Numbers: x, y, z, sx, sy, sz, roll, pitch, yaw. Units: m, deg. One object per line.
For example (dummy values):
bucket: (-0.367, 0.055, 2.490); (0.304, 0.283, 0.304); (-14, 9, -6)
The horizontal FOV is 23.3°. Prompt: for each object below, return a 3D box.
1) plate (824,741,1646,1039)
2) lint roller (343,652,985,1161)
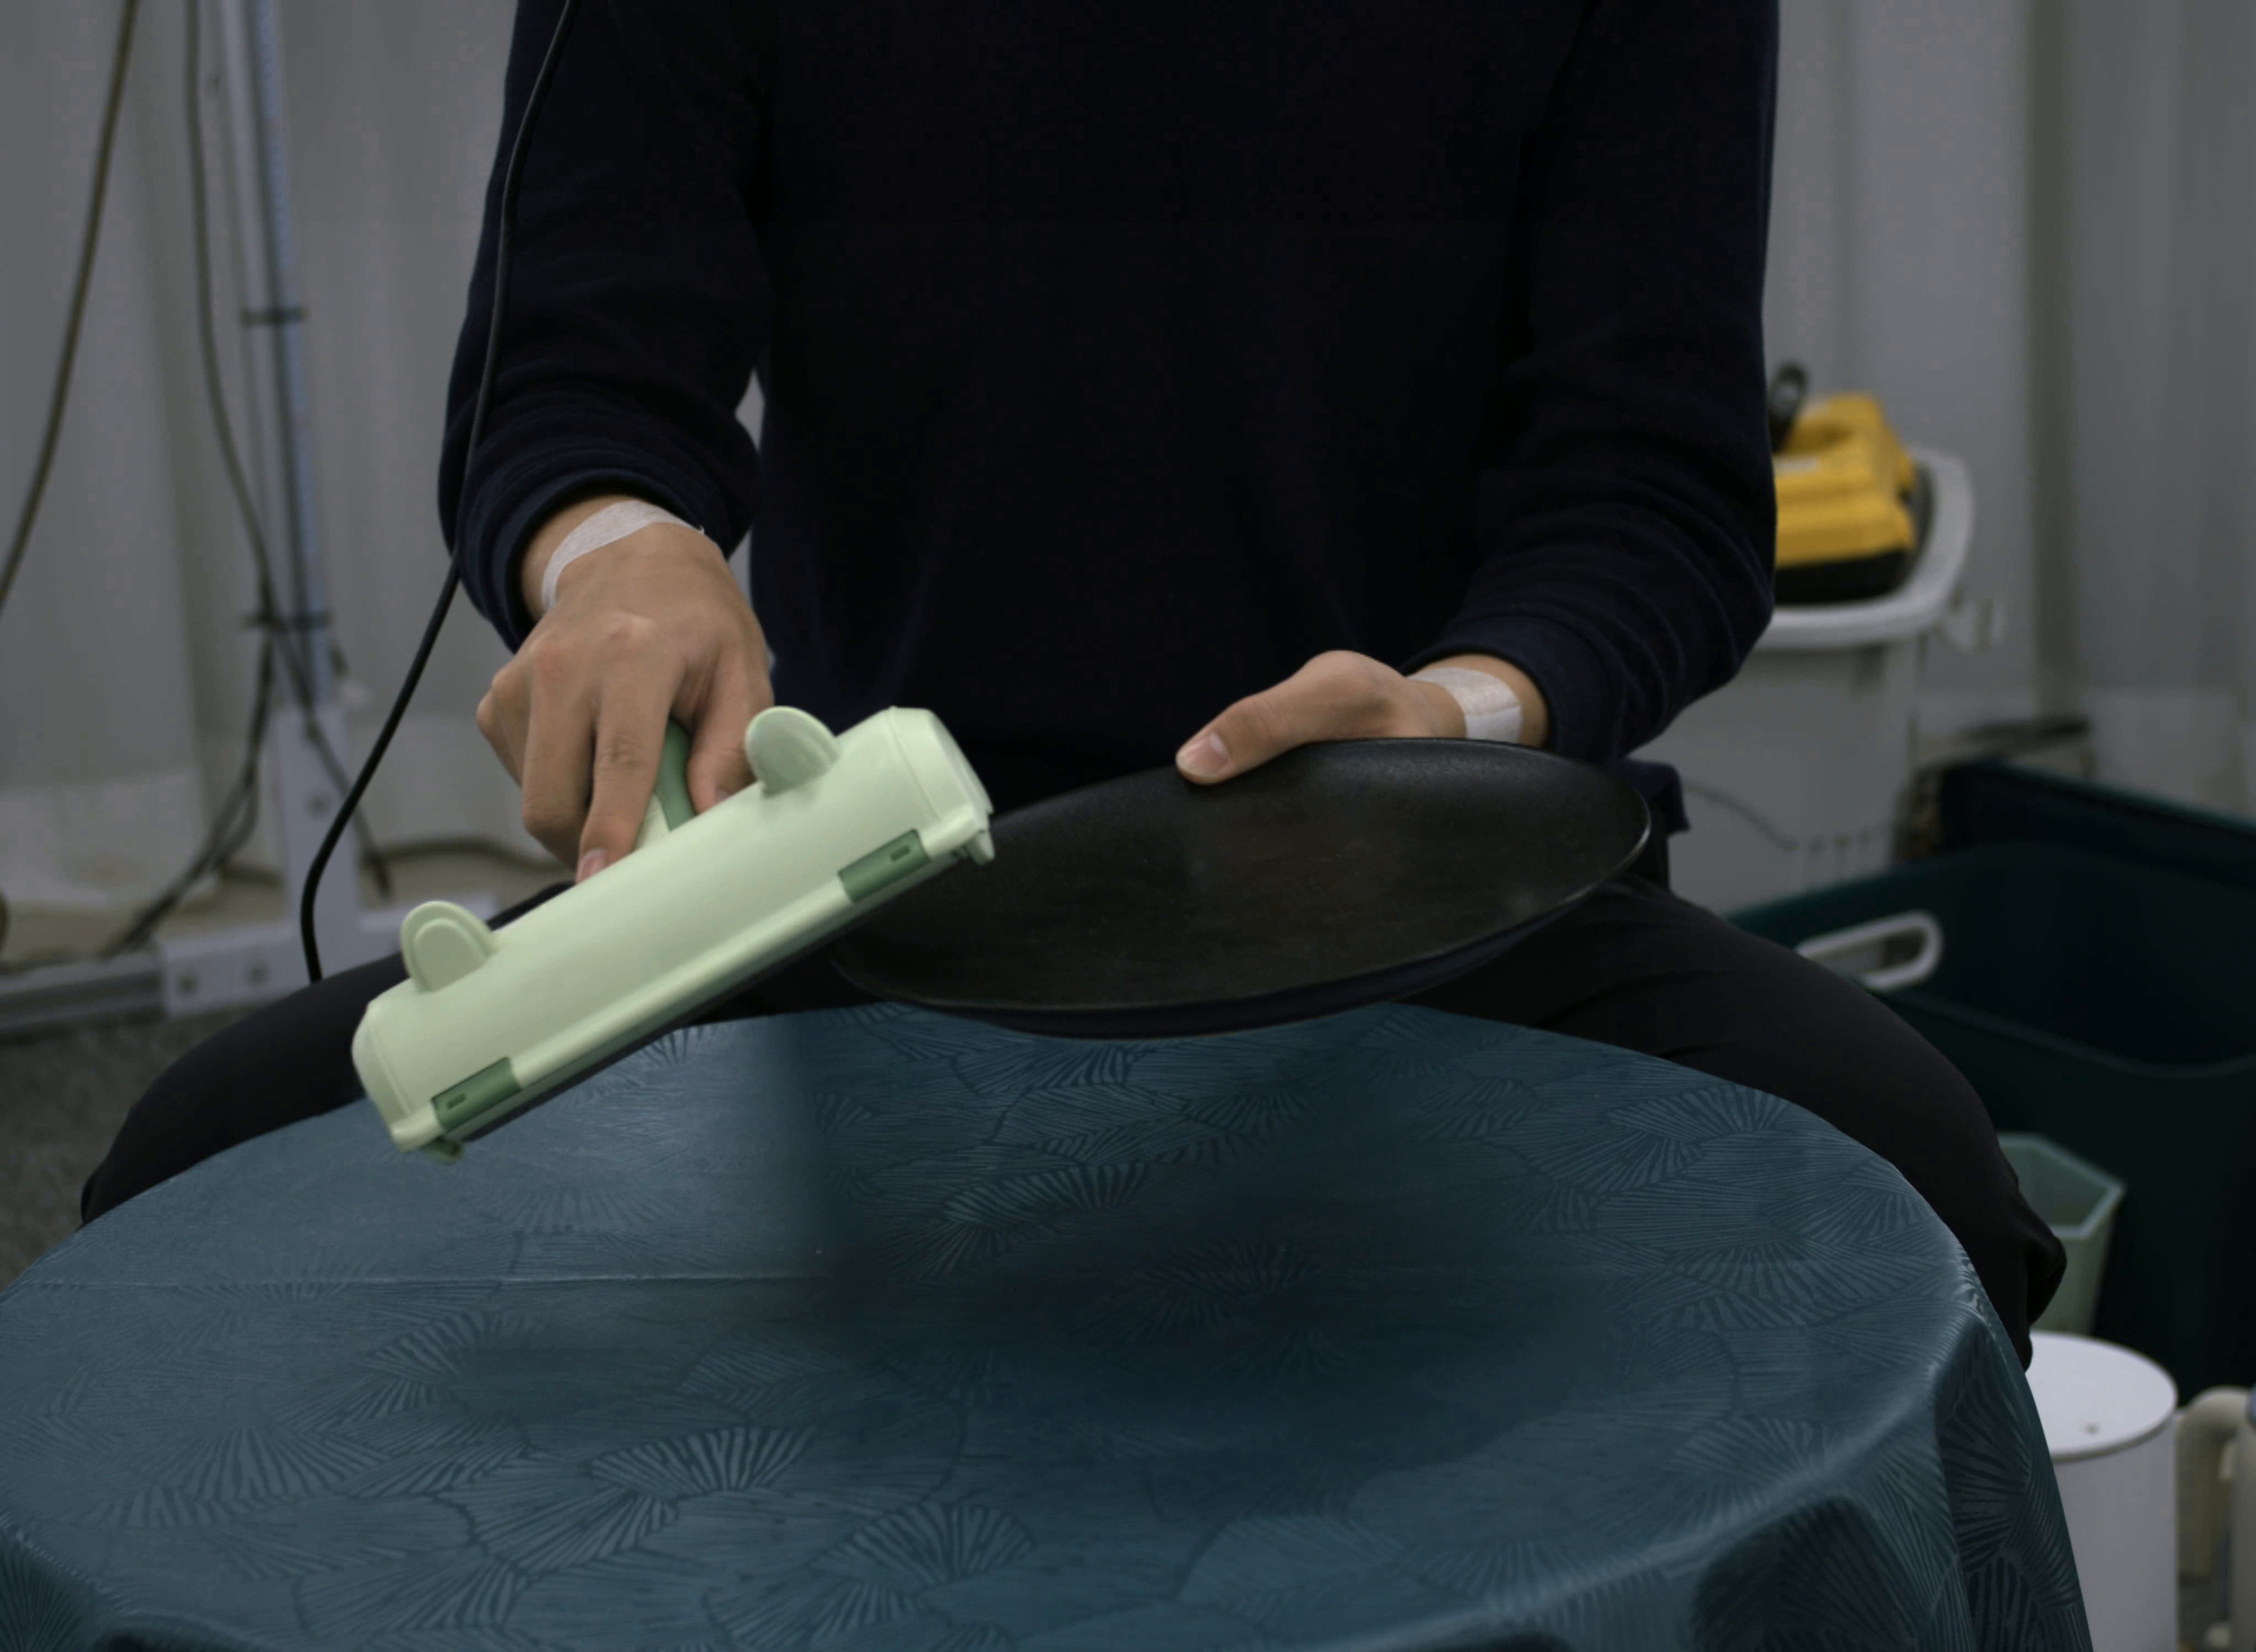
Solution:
plate: (0.032, 0.021, 1.602); (0.243, 0.023, 0.246); (-9, 16, 2)
lint roller: (-0.152, -0.009, 1.624); (0.198, 0.081, 0.186); (-29, 44, 4)
